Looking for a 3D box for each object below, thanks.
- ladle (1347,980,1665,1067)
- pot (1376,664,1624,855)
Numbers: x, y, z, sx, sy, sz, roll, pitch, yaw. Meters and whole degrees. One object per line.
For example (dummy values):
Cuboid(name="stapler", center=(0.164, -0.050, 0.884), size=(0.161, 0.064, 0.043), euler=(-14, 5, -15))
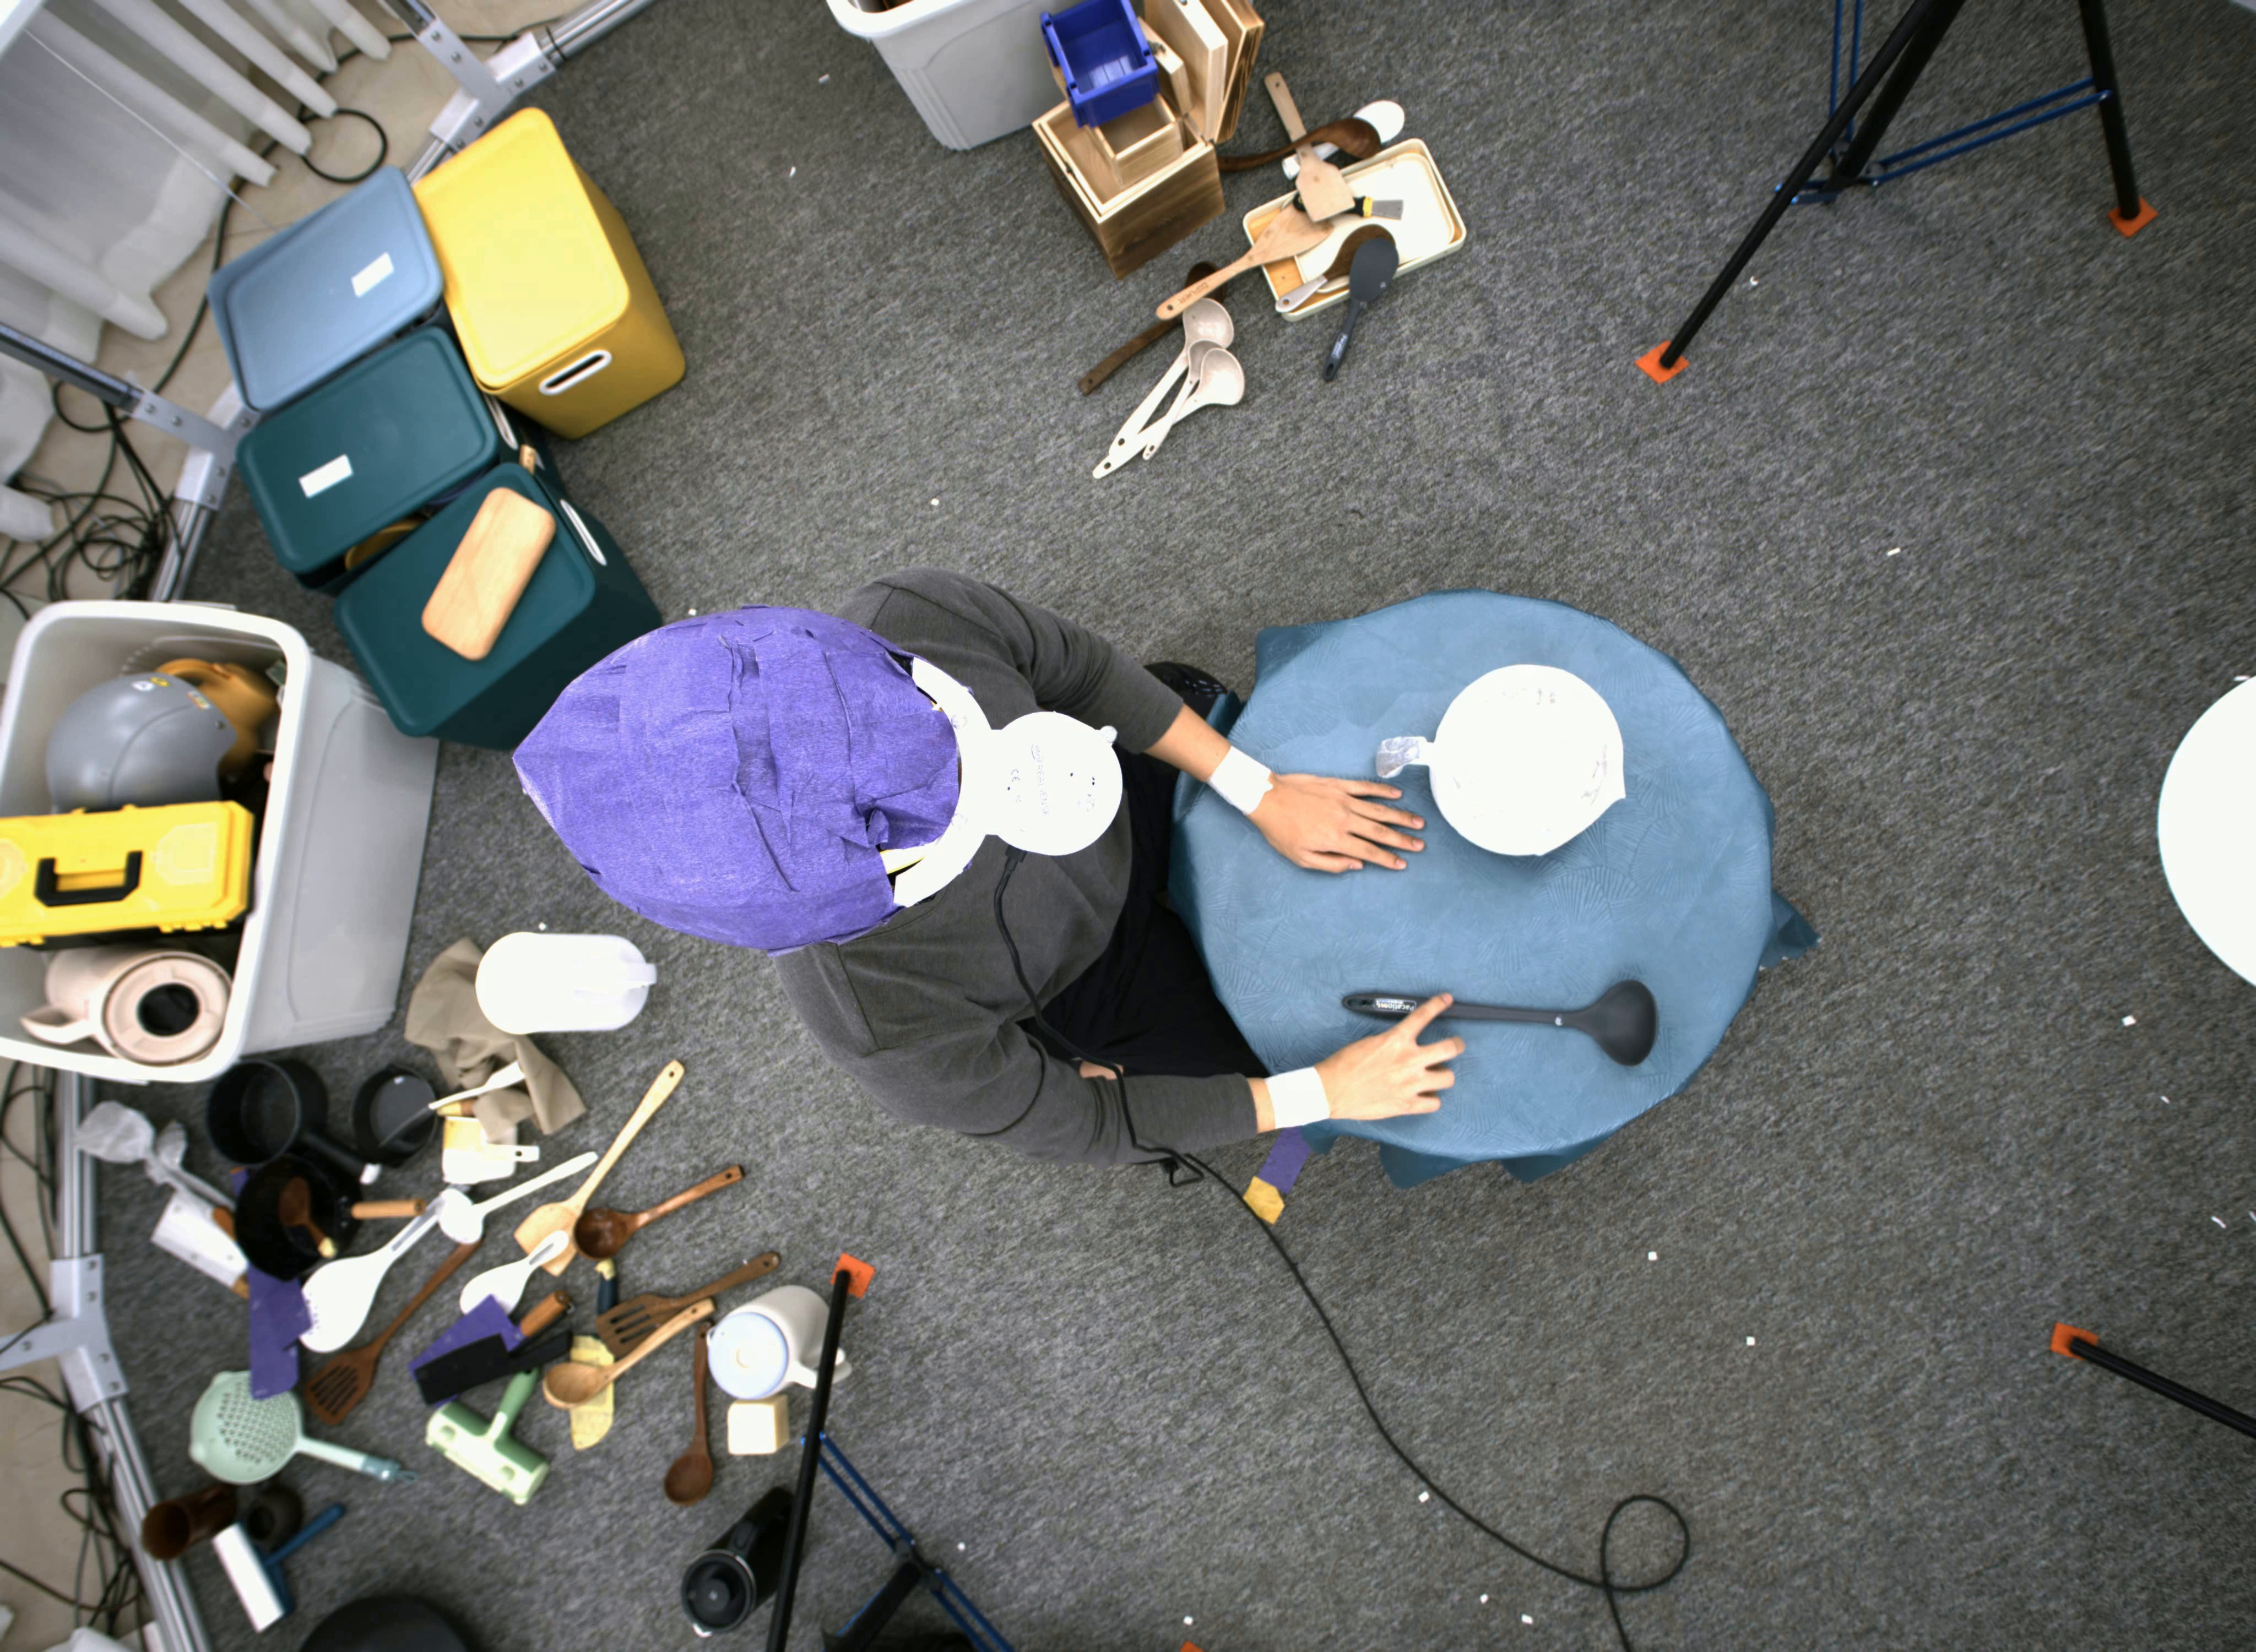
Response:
Cuboid(name="ladle", center=(0.381, 0.188, 1.401), size=(0.315, 0.064, 0.085), euler=(3, 80, 11))
Cuboid(name="pot", center=(0.367, -0.066, 1.380), size=(0.234, 0.137, 0.178), euler=(4, 86, 11))
